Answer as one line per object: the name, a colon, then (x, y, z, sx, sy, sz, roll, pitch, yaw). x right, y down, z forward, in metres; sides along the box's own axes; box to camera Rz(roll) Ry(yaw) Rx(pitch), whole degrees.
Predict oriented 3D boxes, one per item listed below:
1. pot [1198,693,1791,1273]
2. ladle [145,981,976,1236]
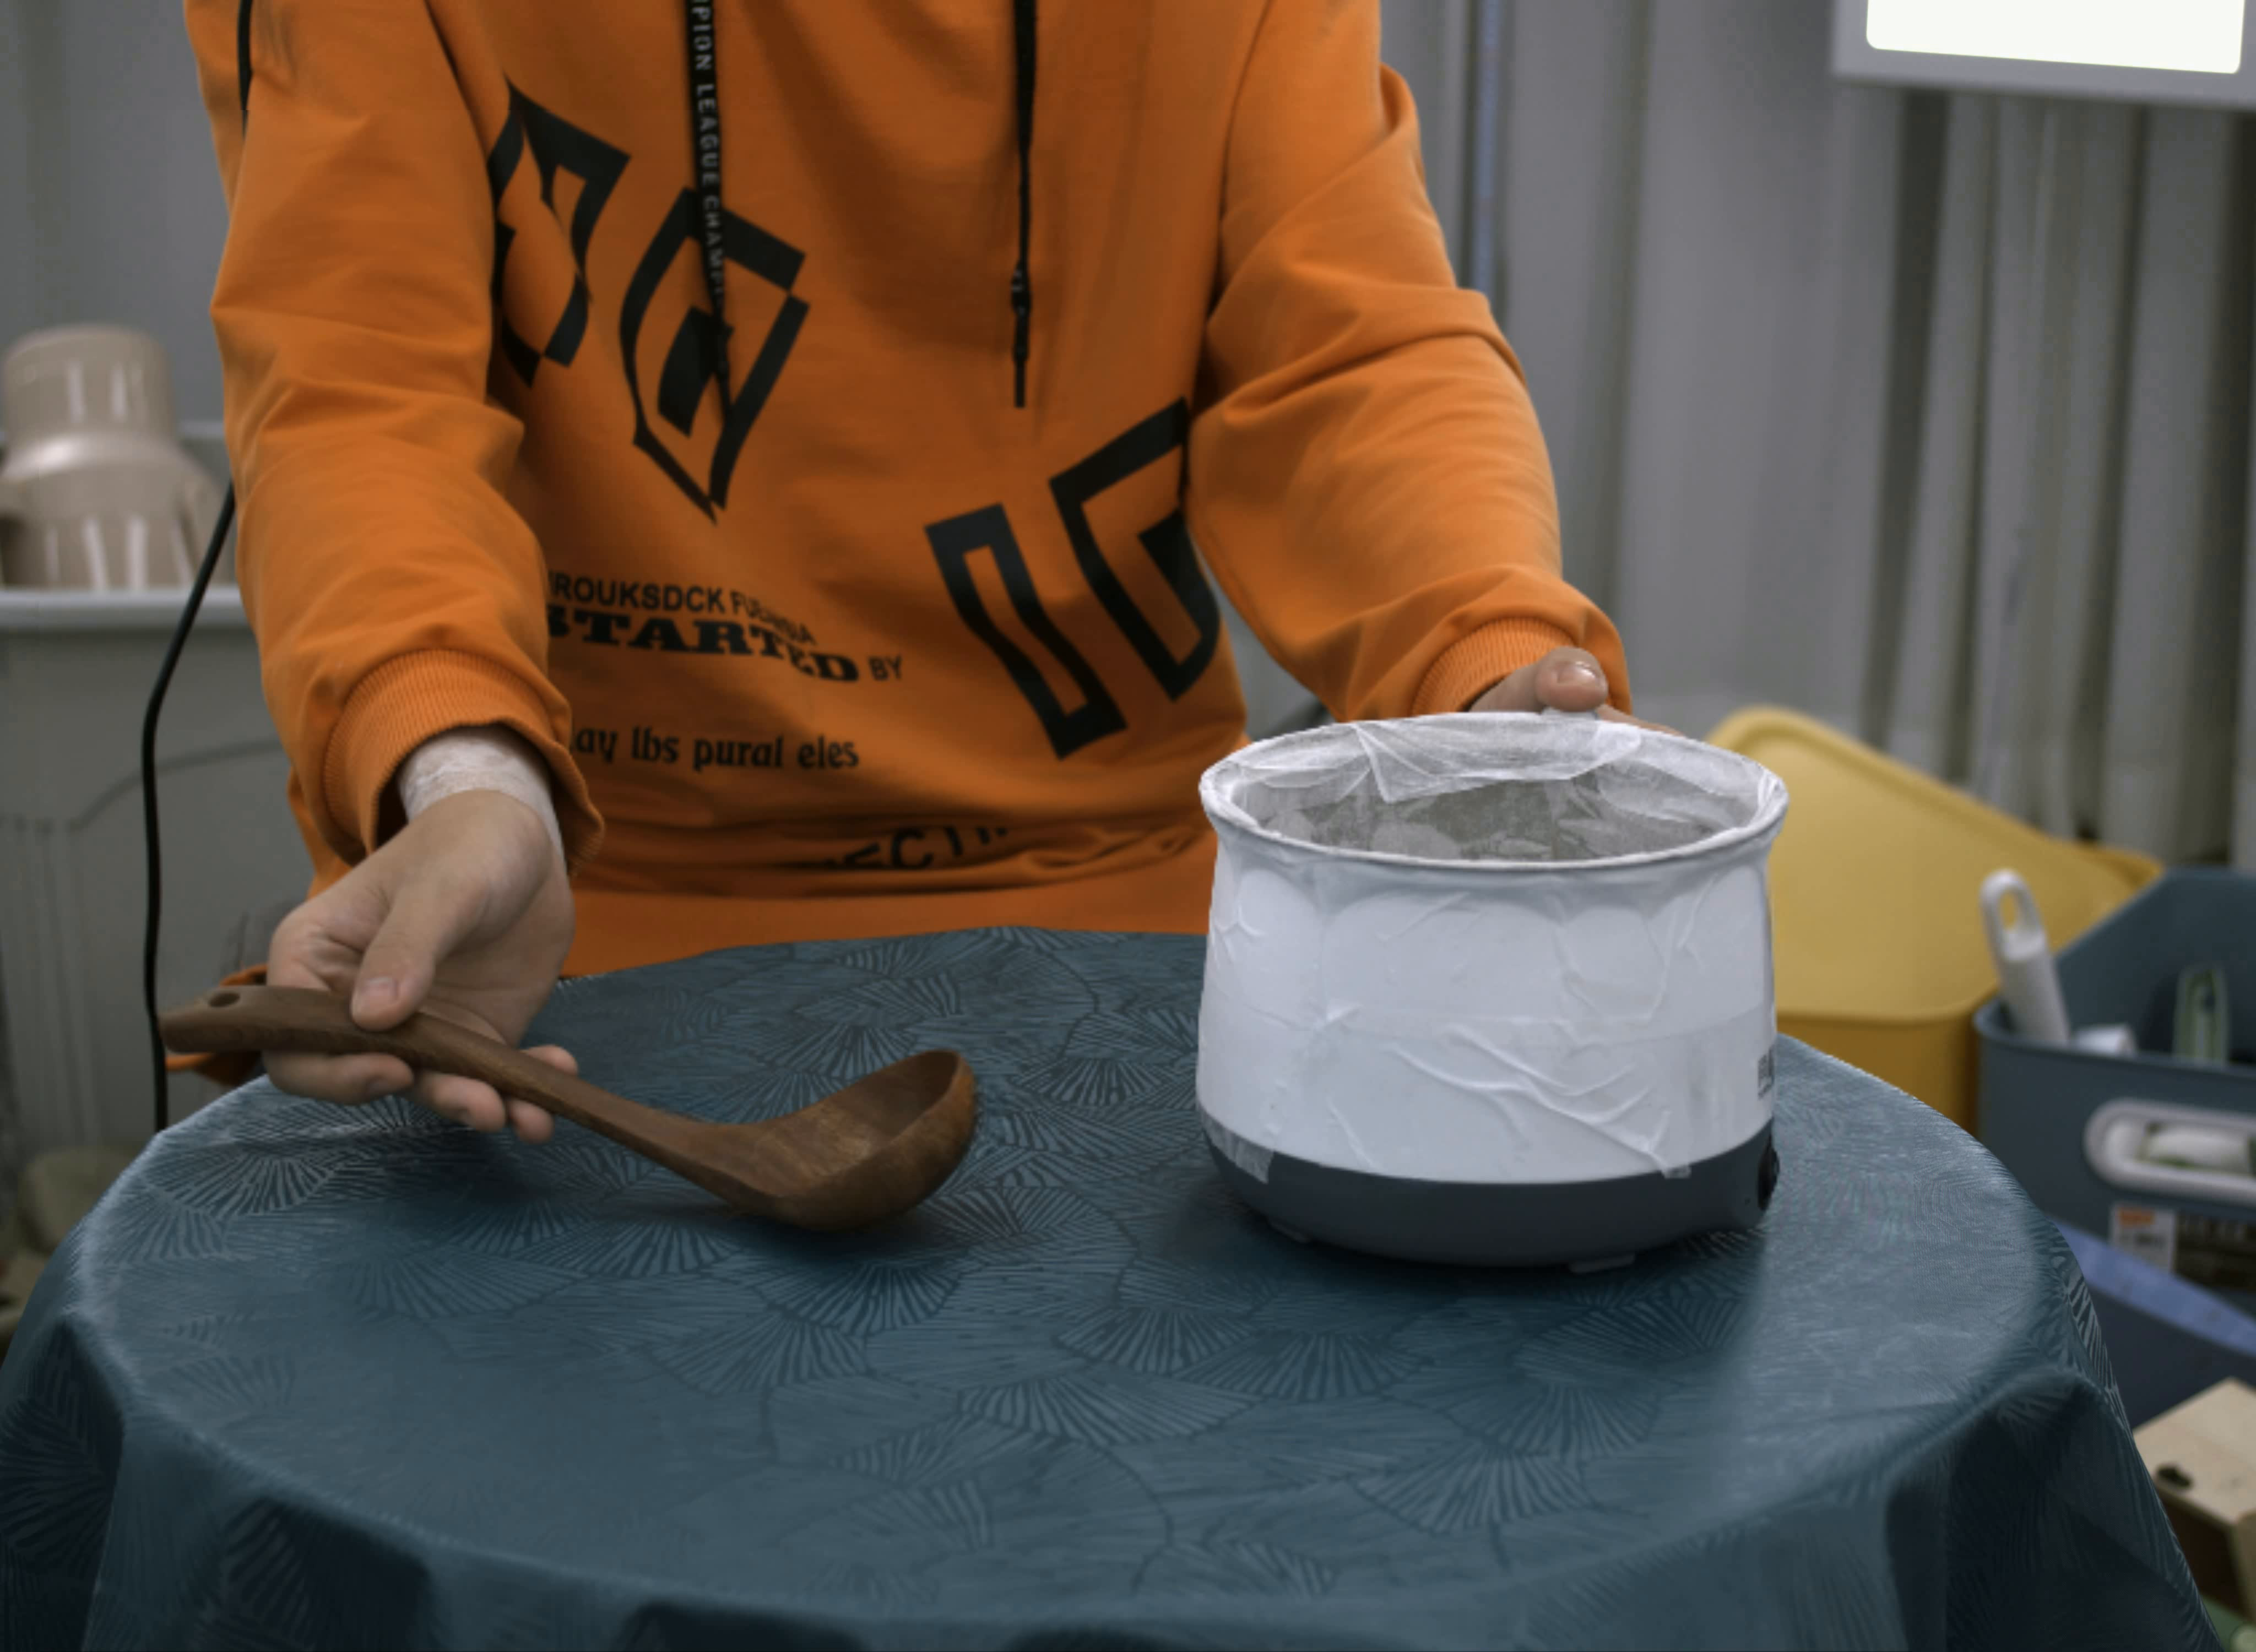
pot: (0.117, 0.042, 1.621, 0.177, 0.138, 0.233, 5, 16, 15)
ladle: (-0.173, 0.069, 1.593, 0.259, 0.065, 0.076, 16, 24, 7)
